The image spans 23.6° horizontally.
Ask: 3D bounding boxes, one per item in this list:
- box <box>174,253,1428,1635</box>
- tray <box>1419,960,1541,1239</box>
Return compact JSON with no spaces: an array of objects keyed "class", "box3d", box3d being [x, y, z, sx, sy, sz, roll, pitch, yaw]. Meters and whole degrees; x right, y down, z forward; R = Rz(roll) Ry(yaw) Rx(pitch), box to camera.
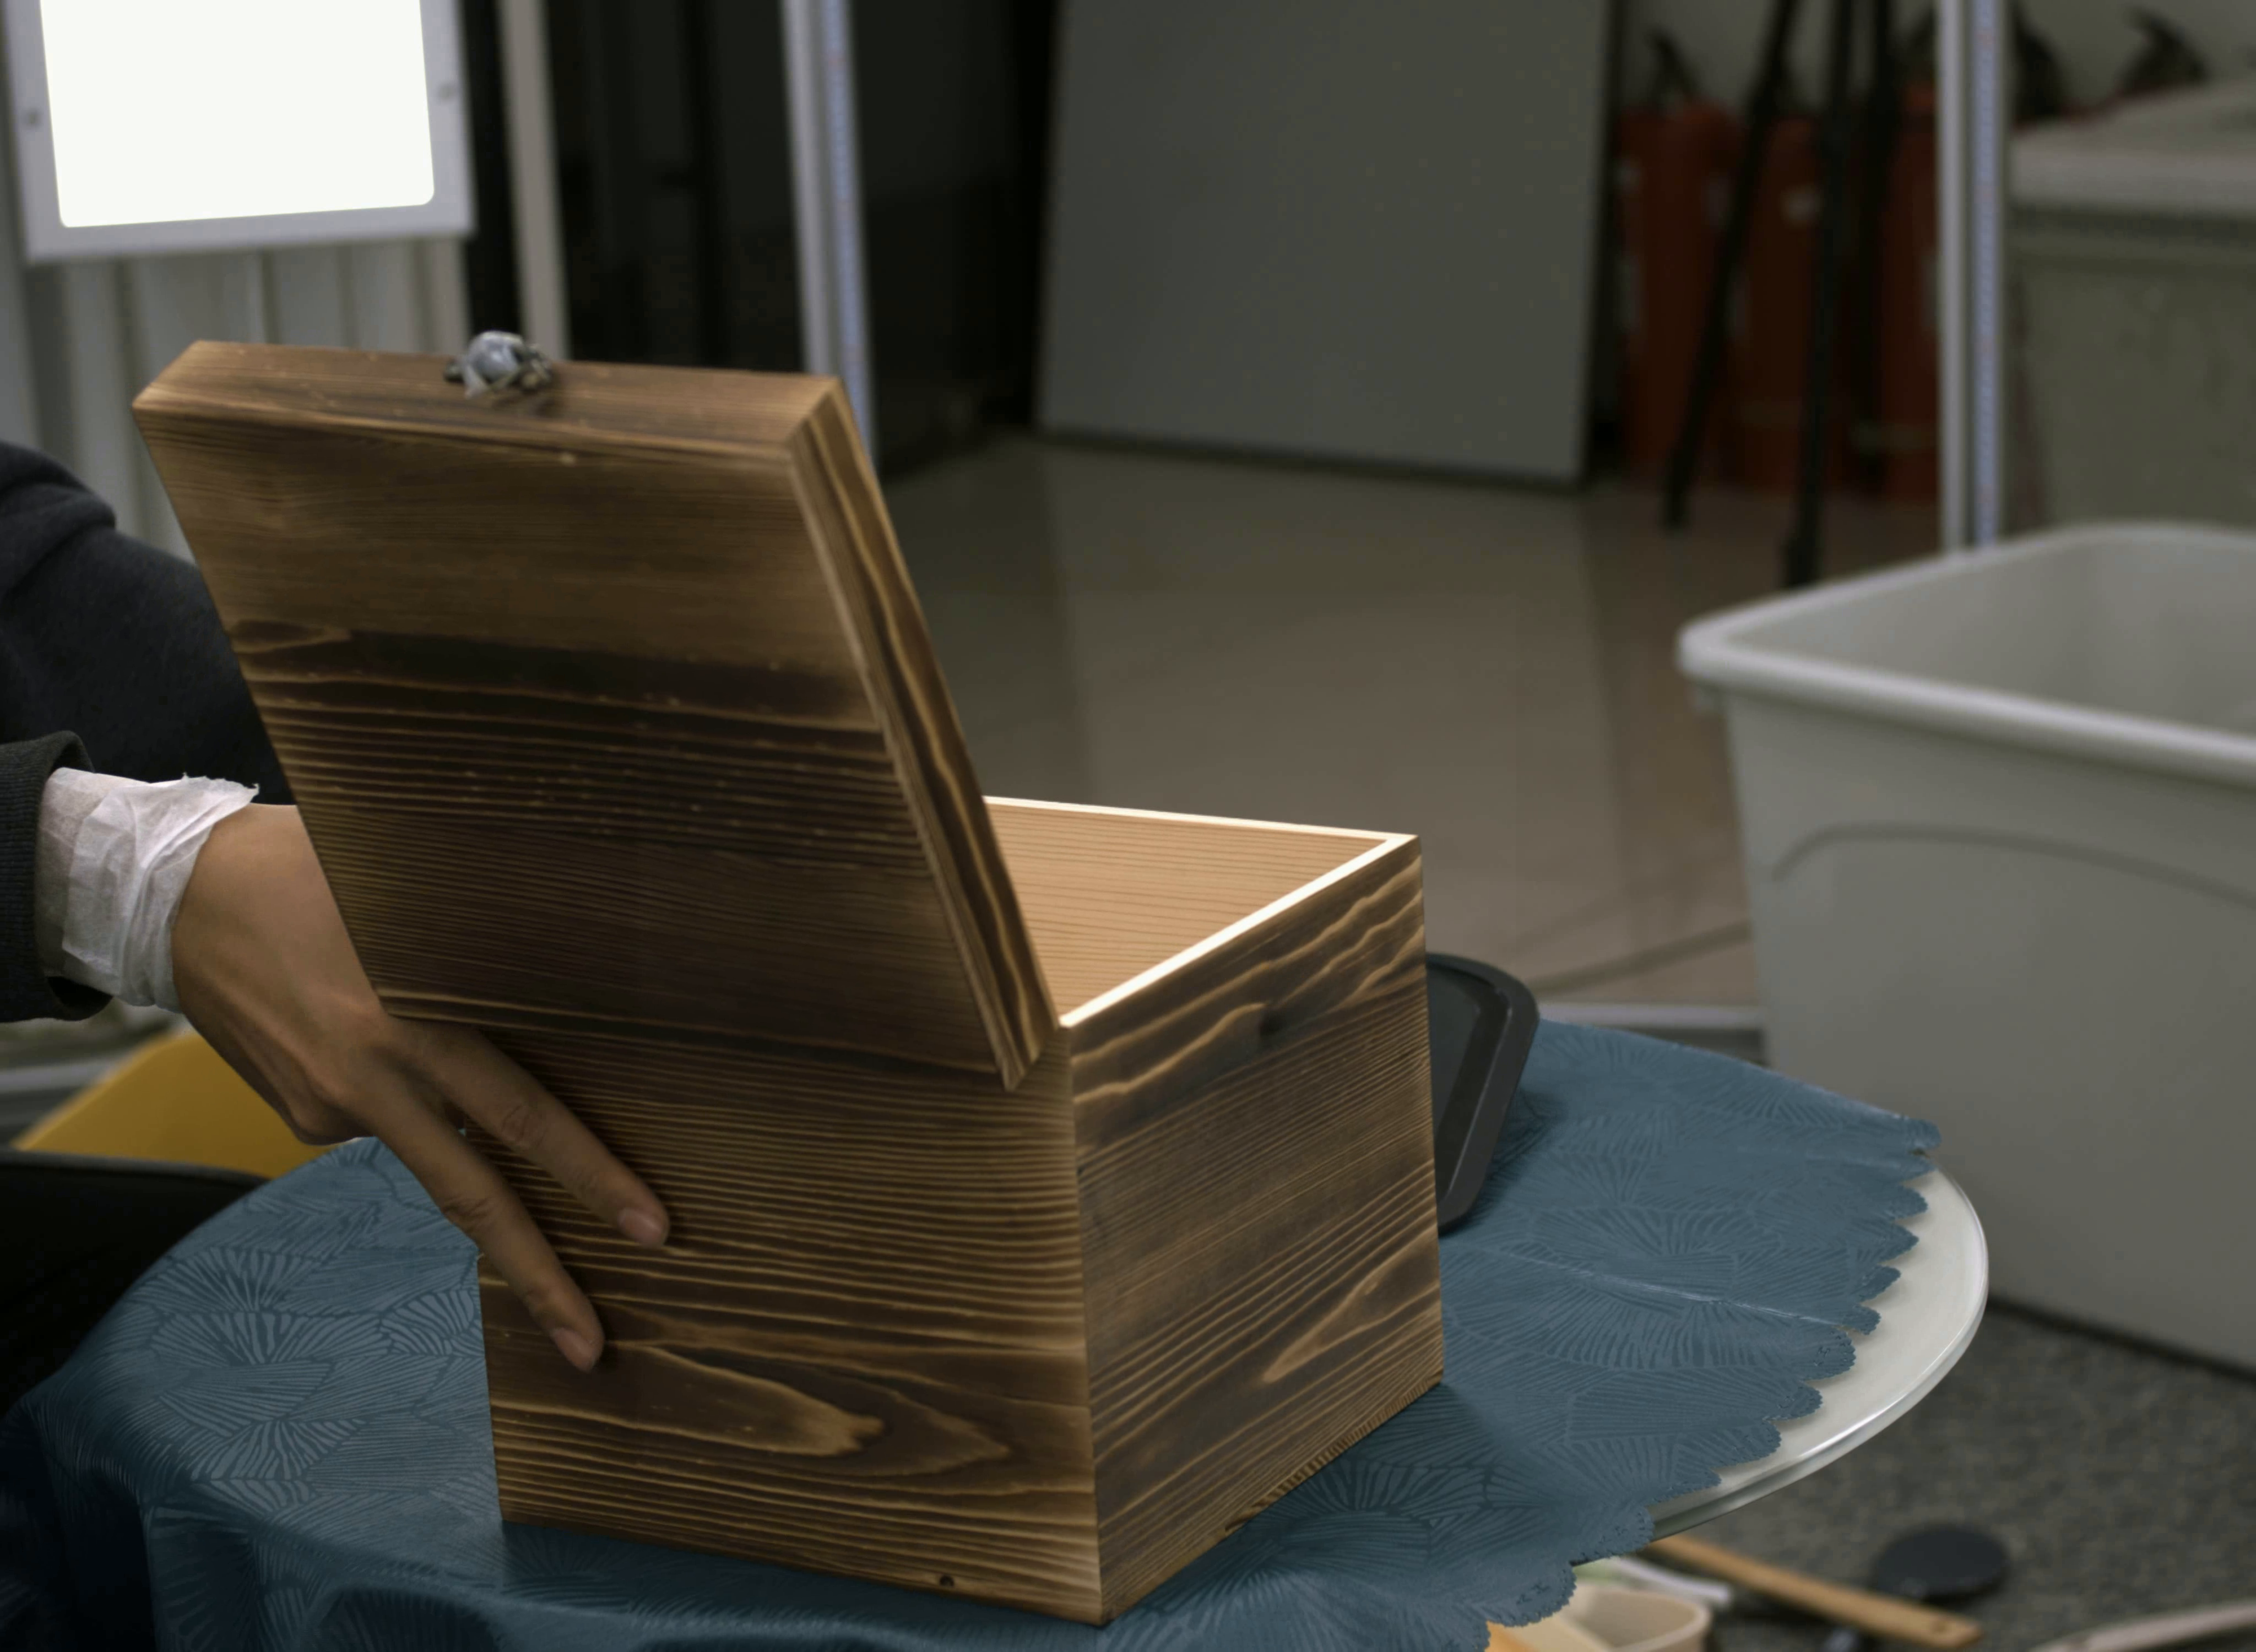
[{"class":"box","box3d":[-0.075,0.015,1.459,0.209,0.379,0.317,5,16,30]},{"class":"tray","box3d":[-0.029,0.083,1.809,0.324,0.010,0.210,3,25,13]}]
